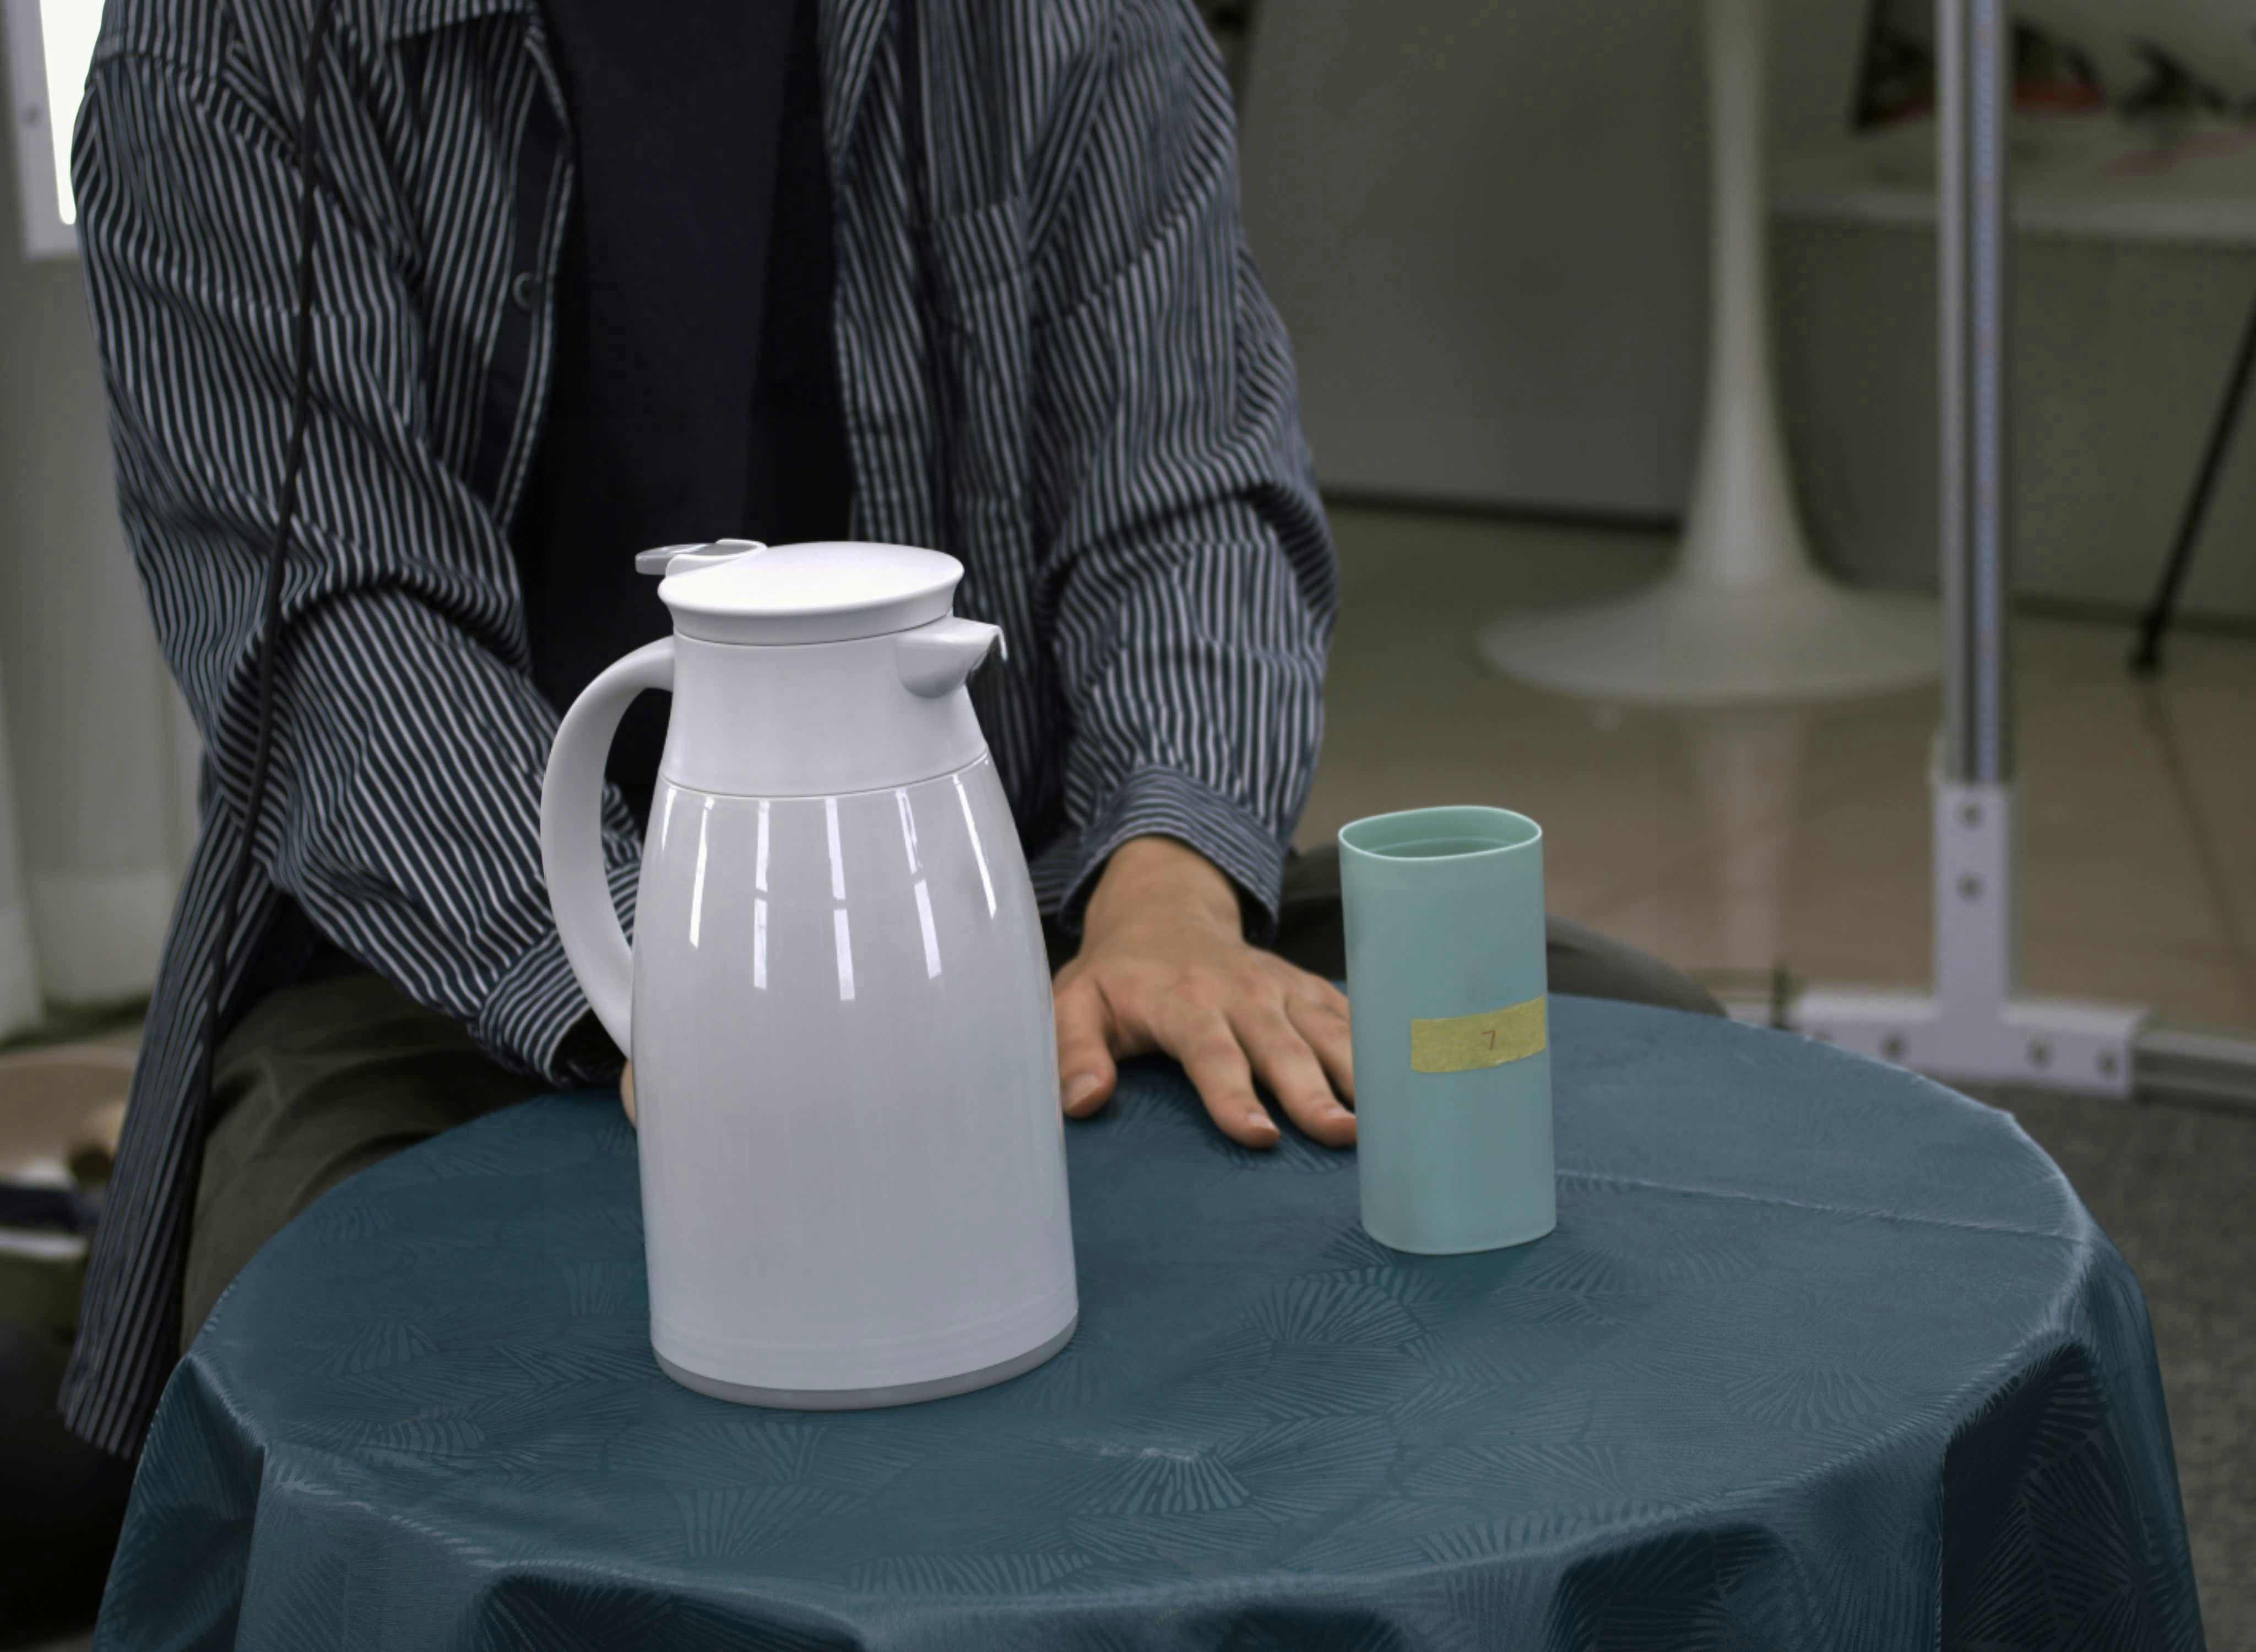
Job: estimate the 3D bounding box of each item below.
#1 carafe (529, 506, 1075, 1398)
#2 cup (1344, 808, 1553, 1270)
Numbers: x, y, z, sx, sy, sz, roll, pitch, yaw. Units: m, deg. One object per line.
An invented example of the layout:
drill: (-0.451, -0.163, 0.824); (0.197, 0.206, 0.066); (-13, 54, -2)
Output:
carafe: (-0.105, 0.030, 1.627); (0.168, 0.251, 0.130); (3, 15, 30)
cup: (0.101, 0.066, 1.697); (0.066, 0.134, 0.067); (-3, 15, 0)
